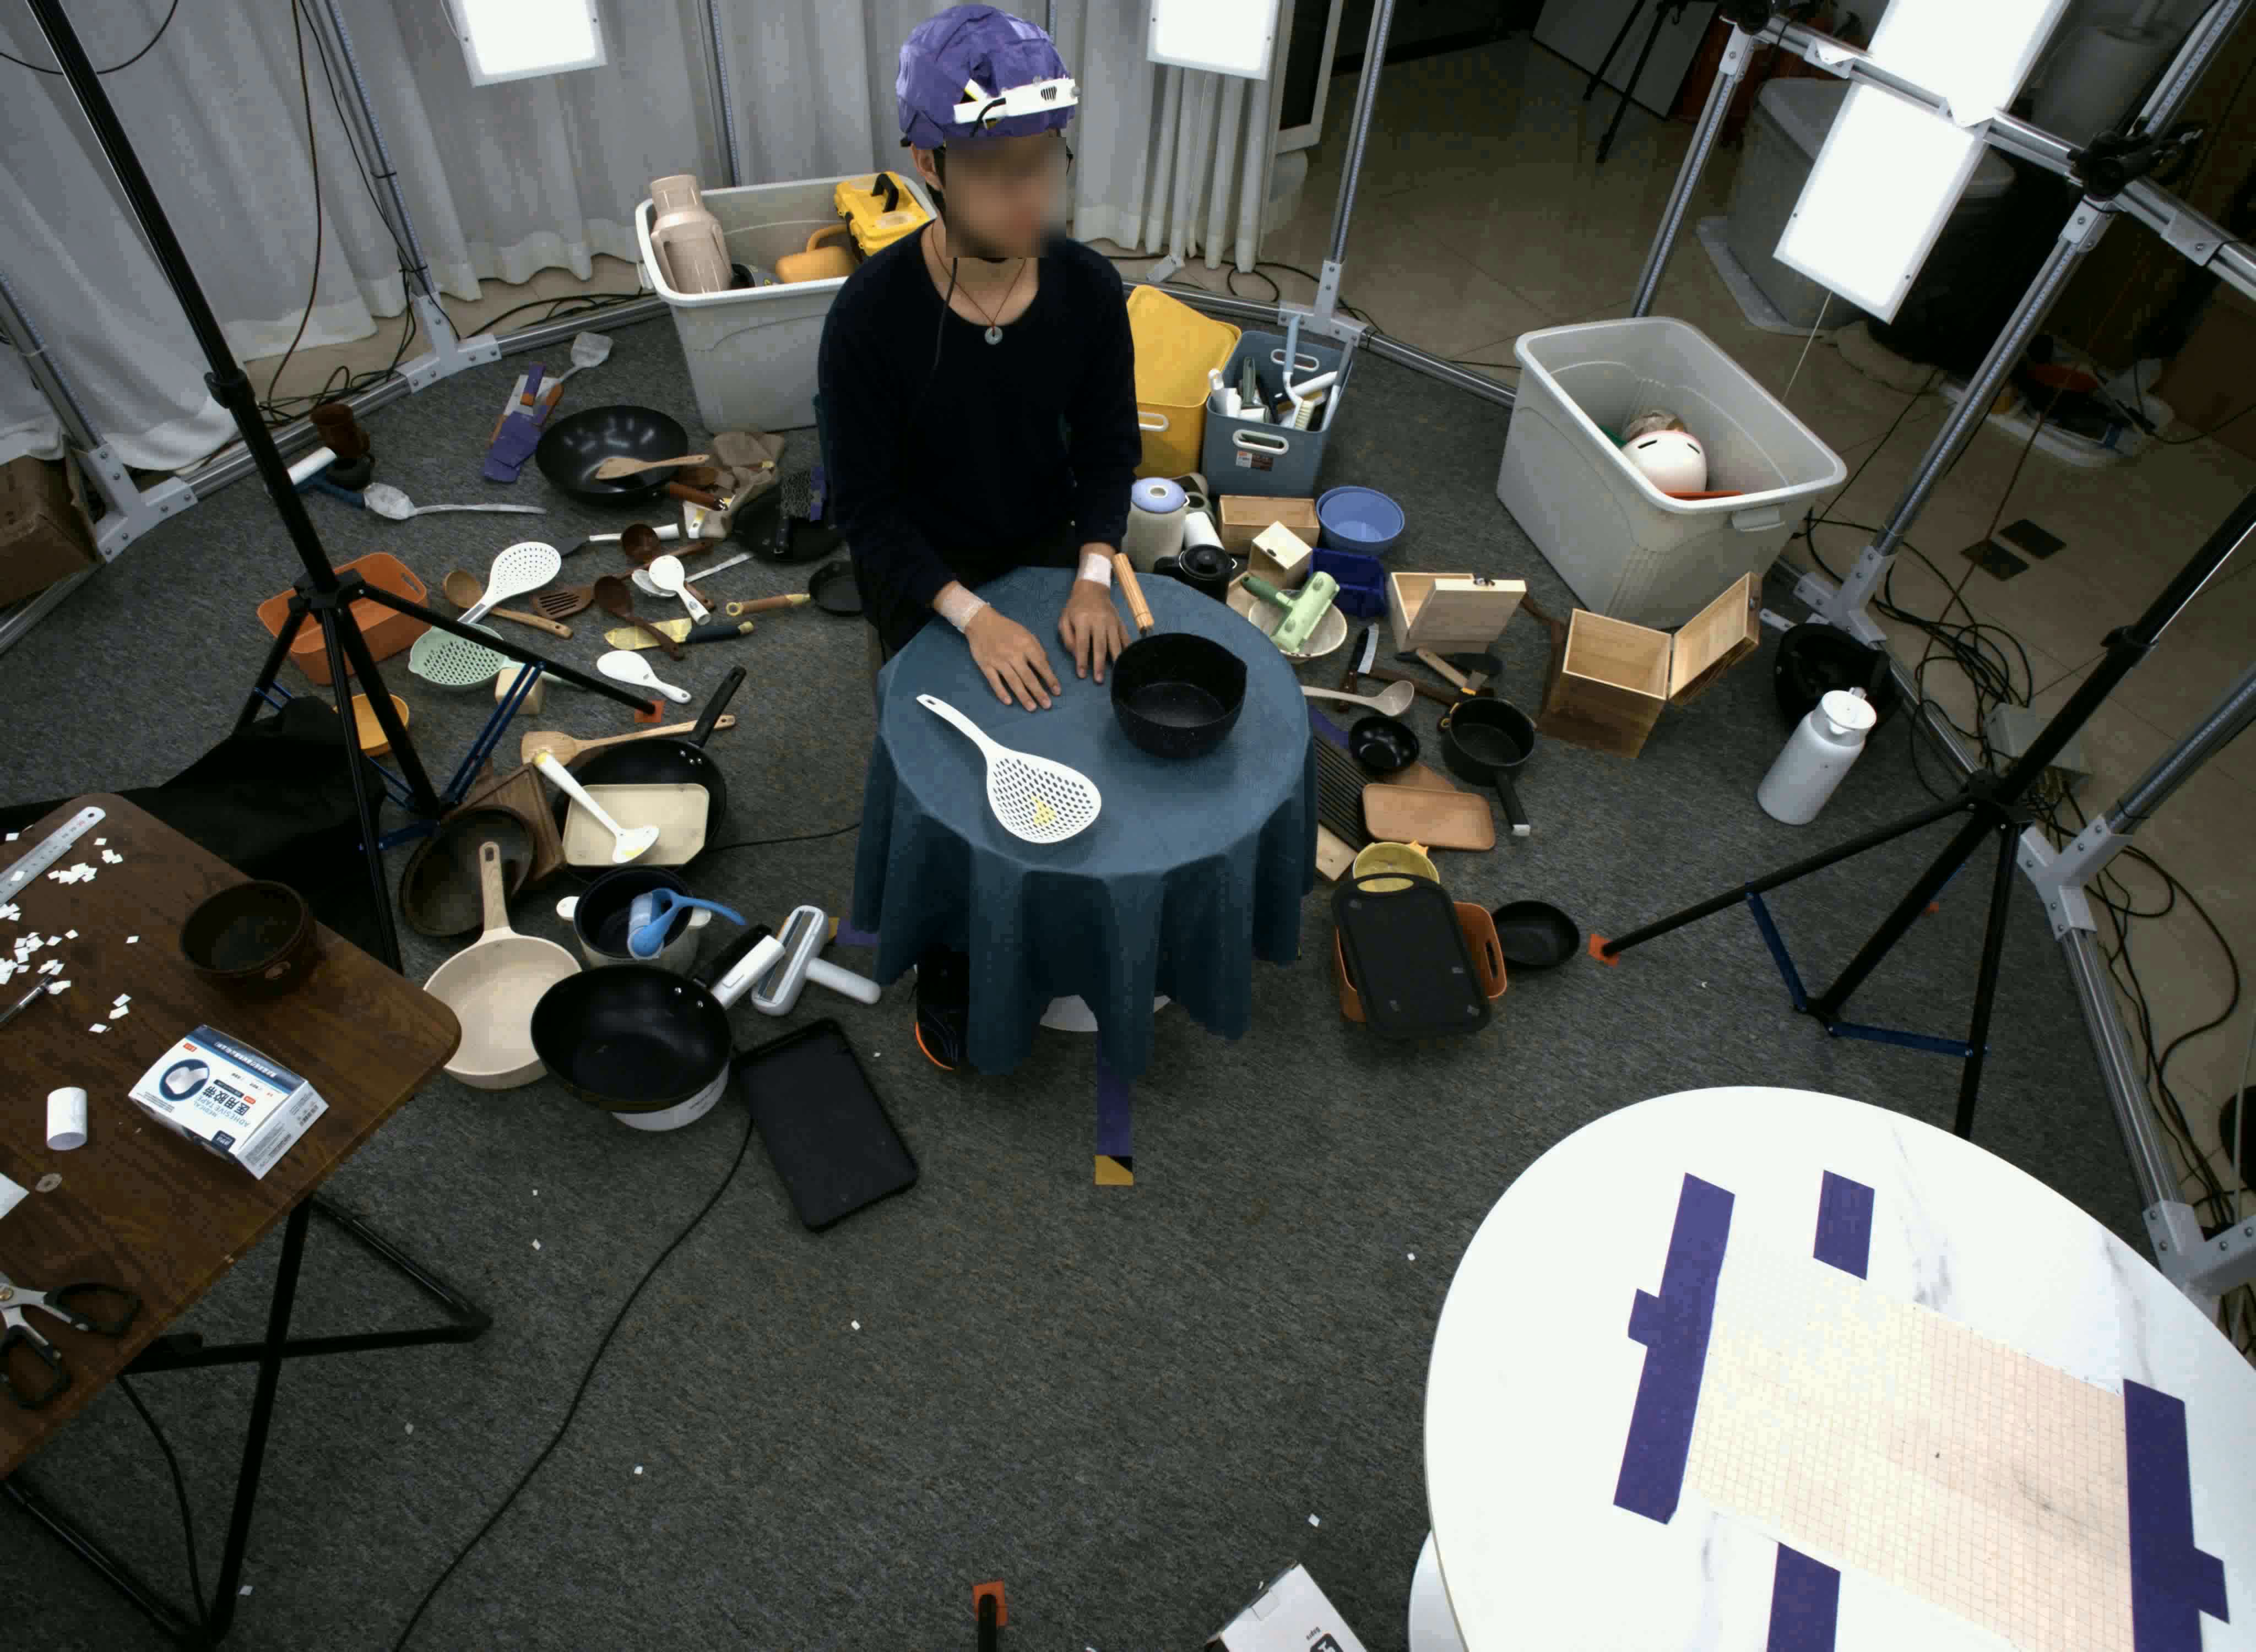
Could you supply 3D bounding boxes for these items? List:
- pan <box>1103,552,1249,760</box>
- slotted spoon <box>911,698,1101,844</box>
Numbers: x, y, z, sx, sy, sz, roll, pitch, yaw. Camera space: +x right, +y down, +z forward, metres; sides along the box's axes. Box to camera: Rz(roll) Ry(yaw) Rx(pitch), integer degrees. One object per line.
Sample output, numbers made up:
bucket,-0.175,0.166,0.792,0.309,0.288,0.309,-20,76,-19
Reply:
pan,0.039,-0.240,1.810,0.207,0.105,0.351,-15,53,-15
slotted spoon,-0.177,-0.087,1.705,0.138,0.049,0.353,-33,60,-26
